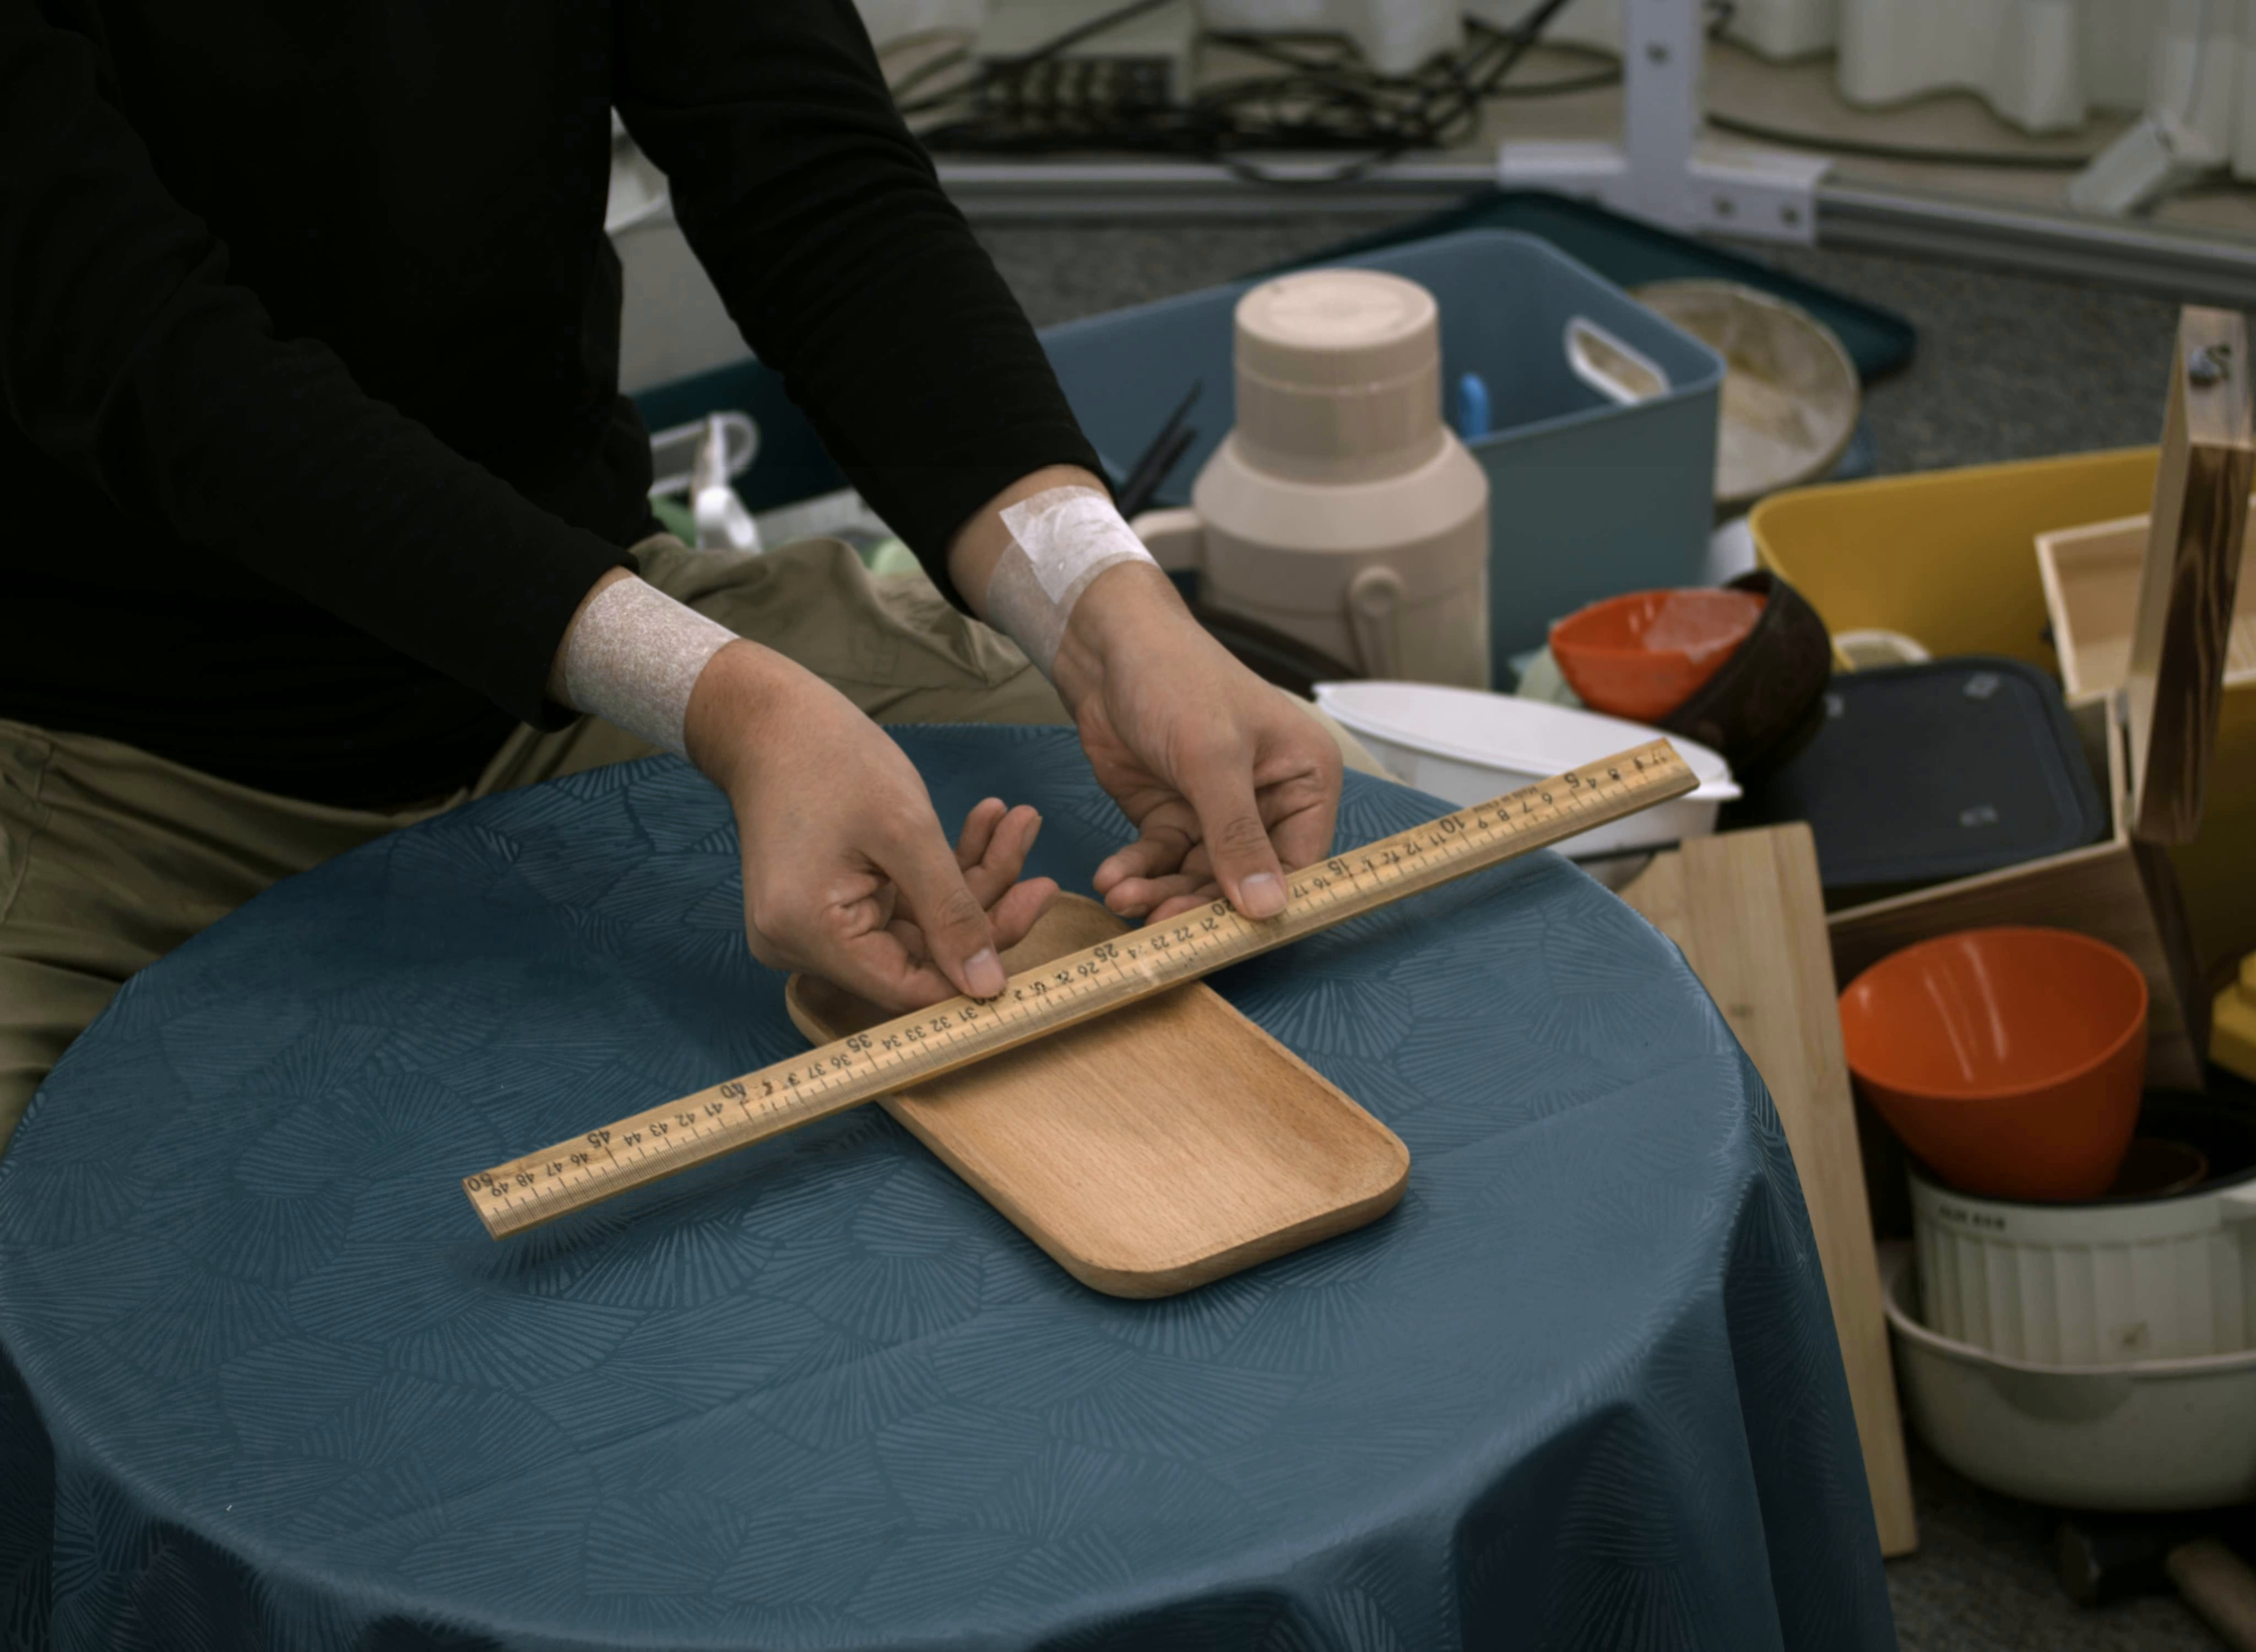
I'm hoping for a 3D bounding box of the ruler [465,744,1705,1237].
[{"bbox_3d":[-0.003,0.051,1.946,0.504,0.006,0.027,-19,58,-29],"label":"ruler"}]

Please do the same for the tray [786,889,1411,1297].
[{"bbox_3d":[-0.013,0.088,1.910,0.131,0.022,0.252,-15,28,-25],"label":"tray"}]
